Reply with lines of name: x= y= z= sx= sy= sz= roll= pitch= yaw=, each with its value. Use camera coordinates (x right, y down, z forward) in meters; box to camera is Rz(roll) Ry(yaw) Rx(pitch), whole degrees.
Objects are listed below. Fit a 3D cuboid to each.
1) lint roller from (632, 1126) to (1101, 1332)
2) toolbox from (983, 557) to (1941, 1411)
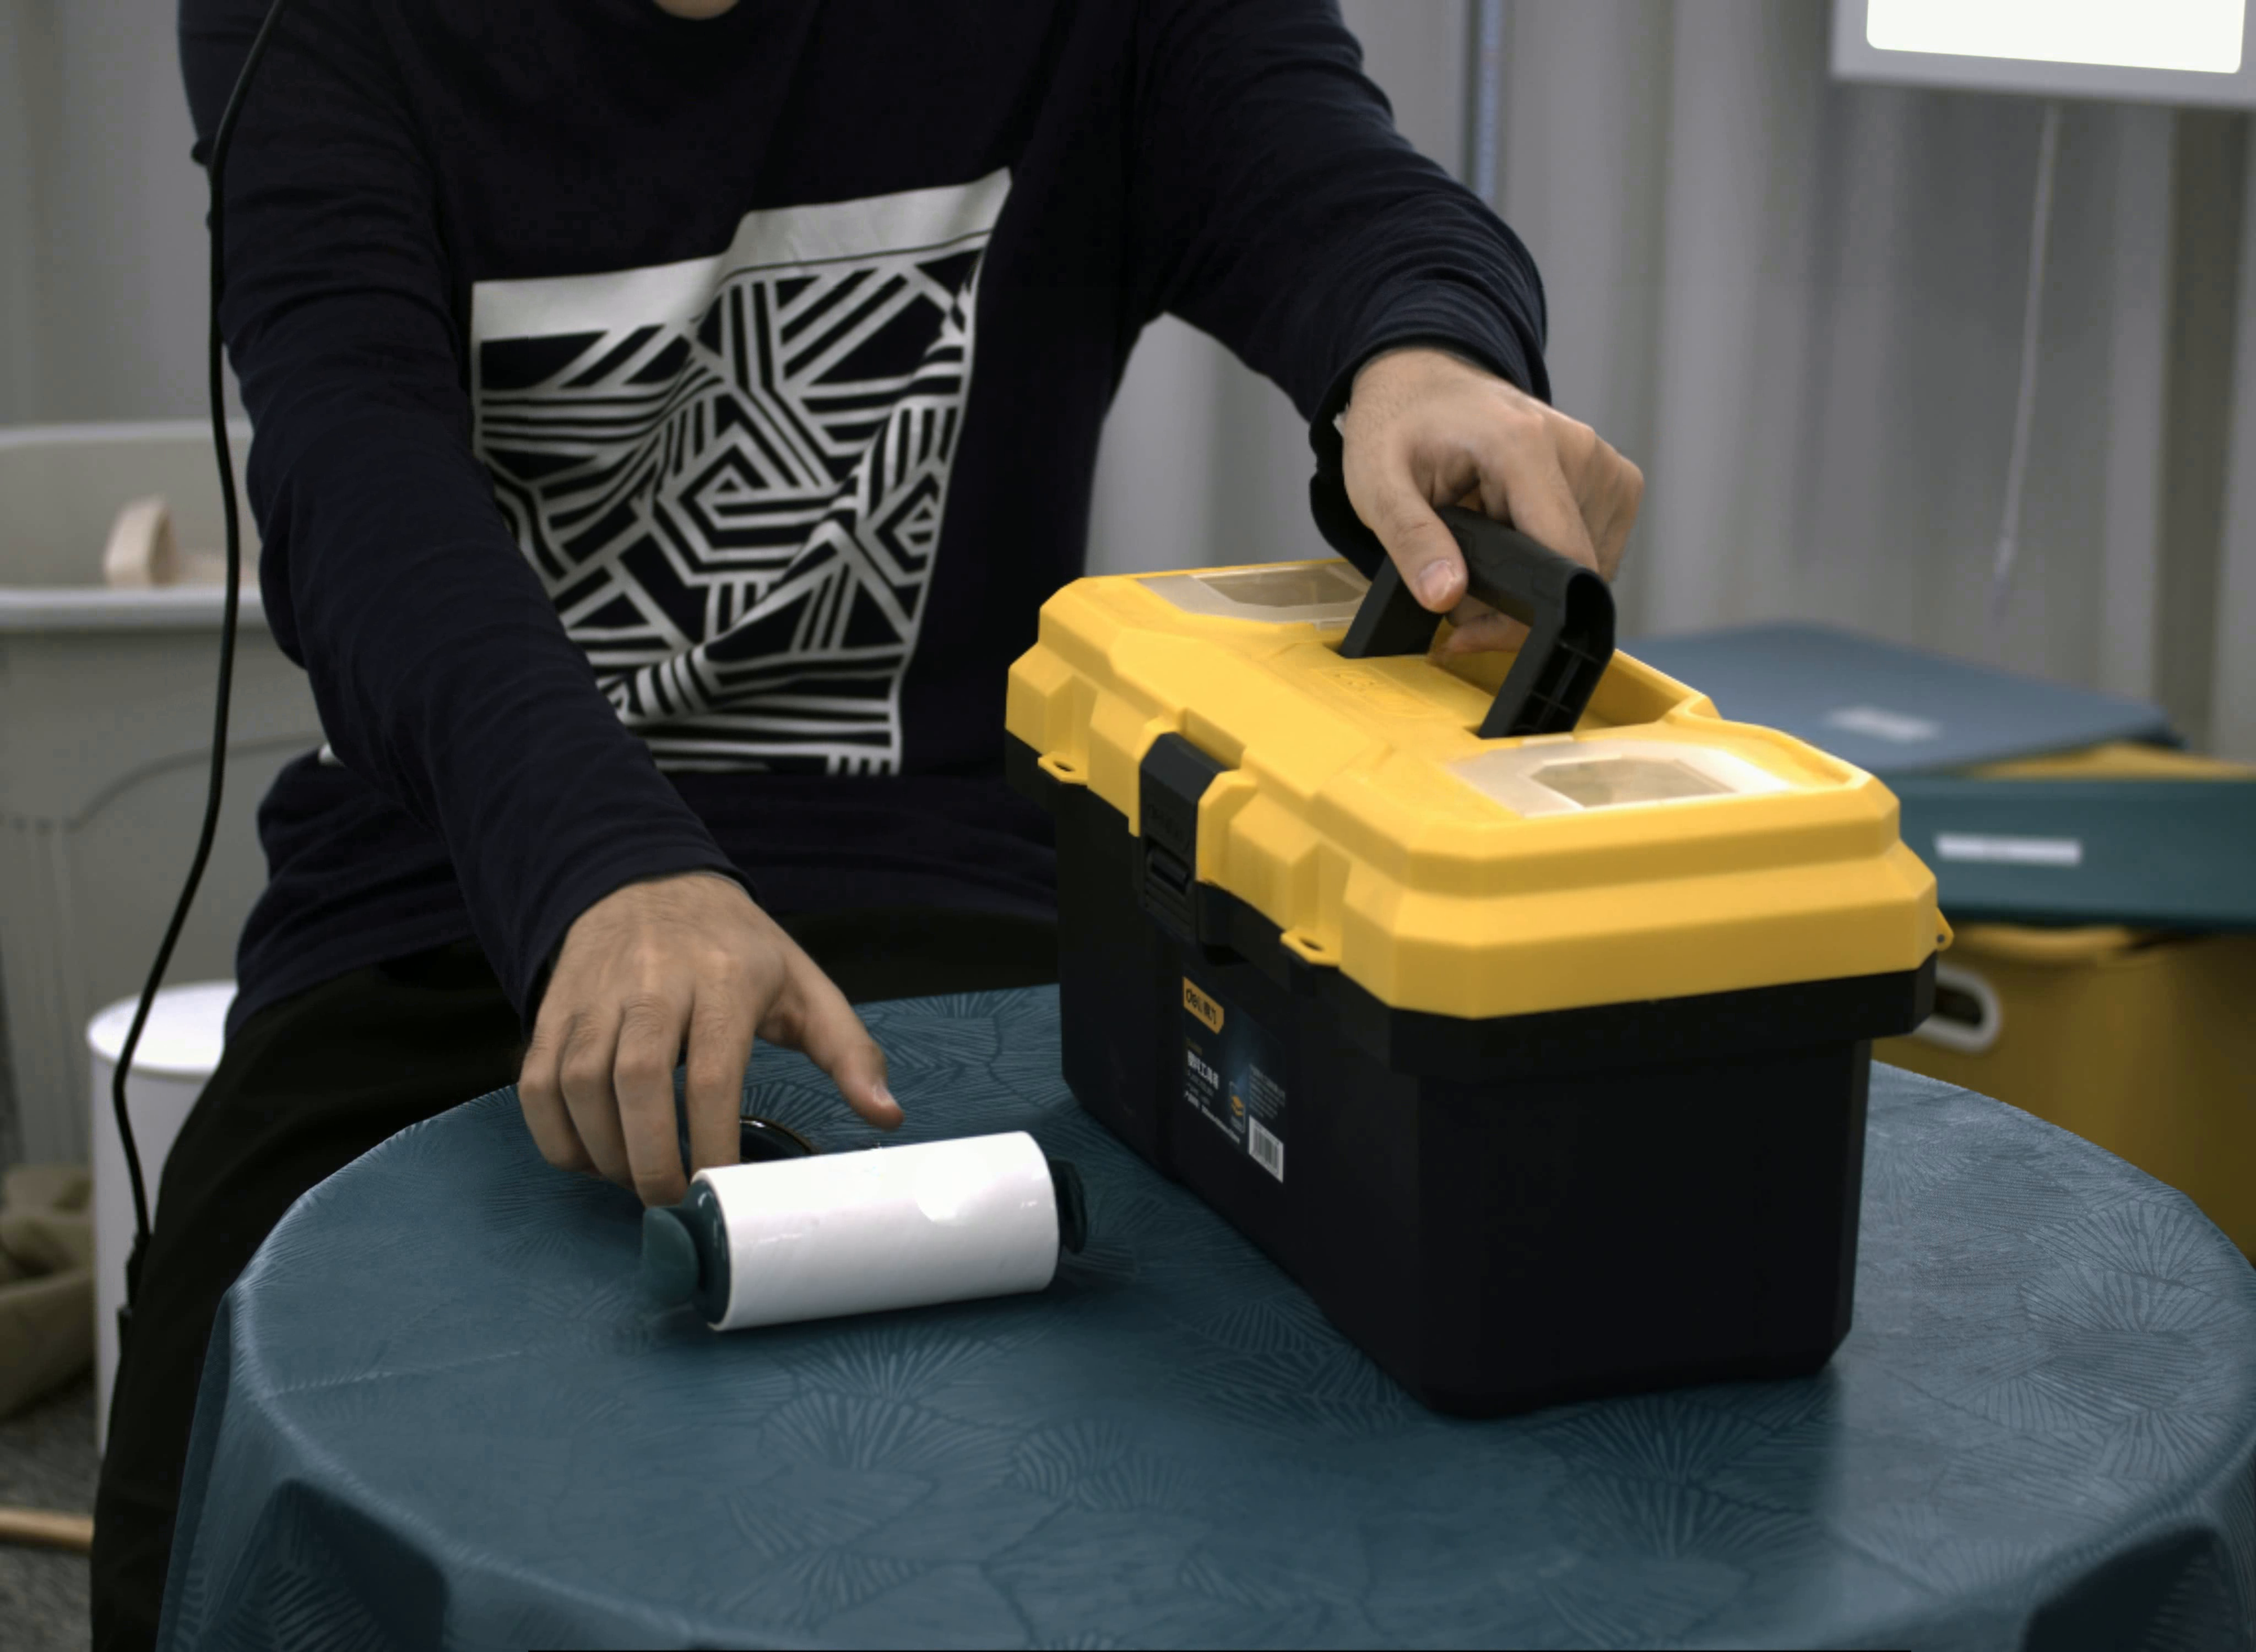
lint roller: x=-0.100 y=0.104 z=1.577 sx=0.135 sy=0.048 sz=0.178 roll=-7 pitch=13 yaw=-21
toolbox: x=0.090 y=0.038 z=1.573 sx=0.182 sy=0.174 sz=0.347 roll=-5 pitch=16 yaw=-20
